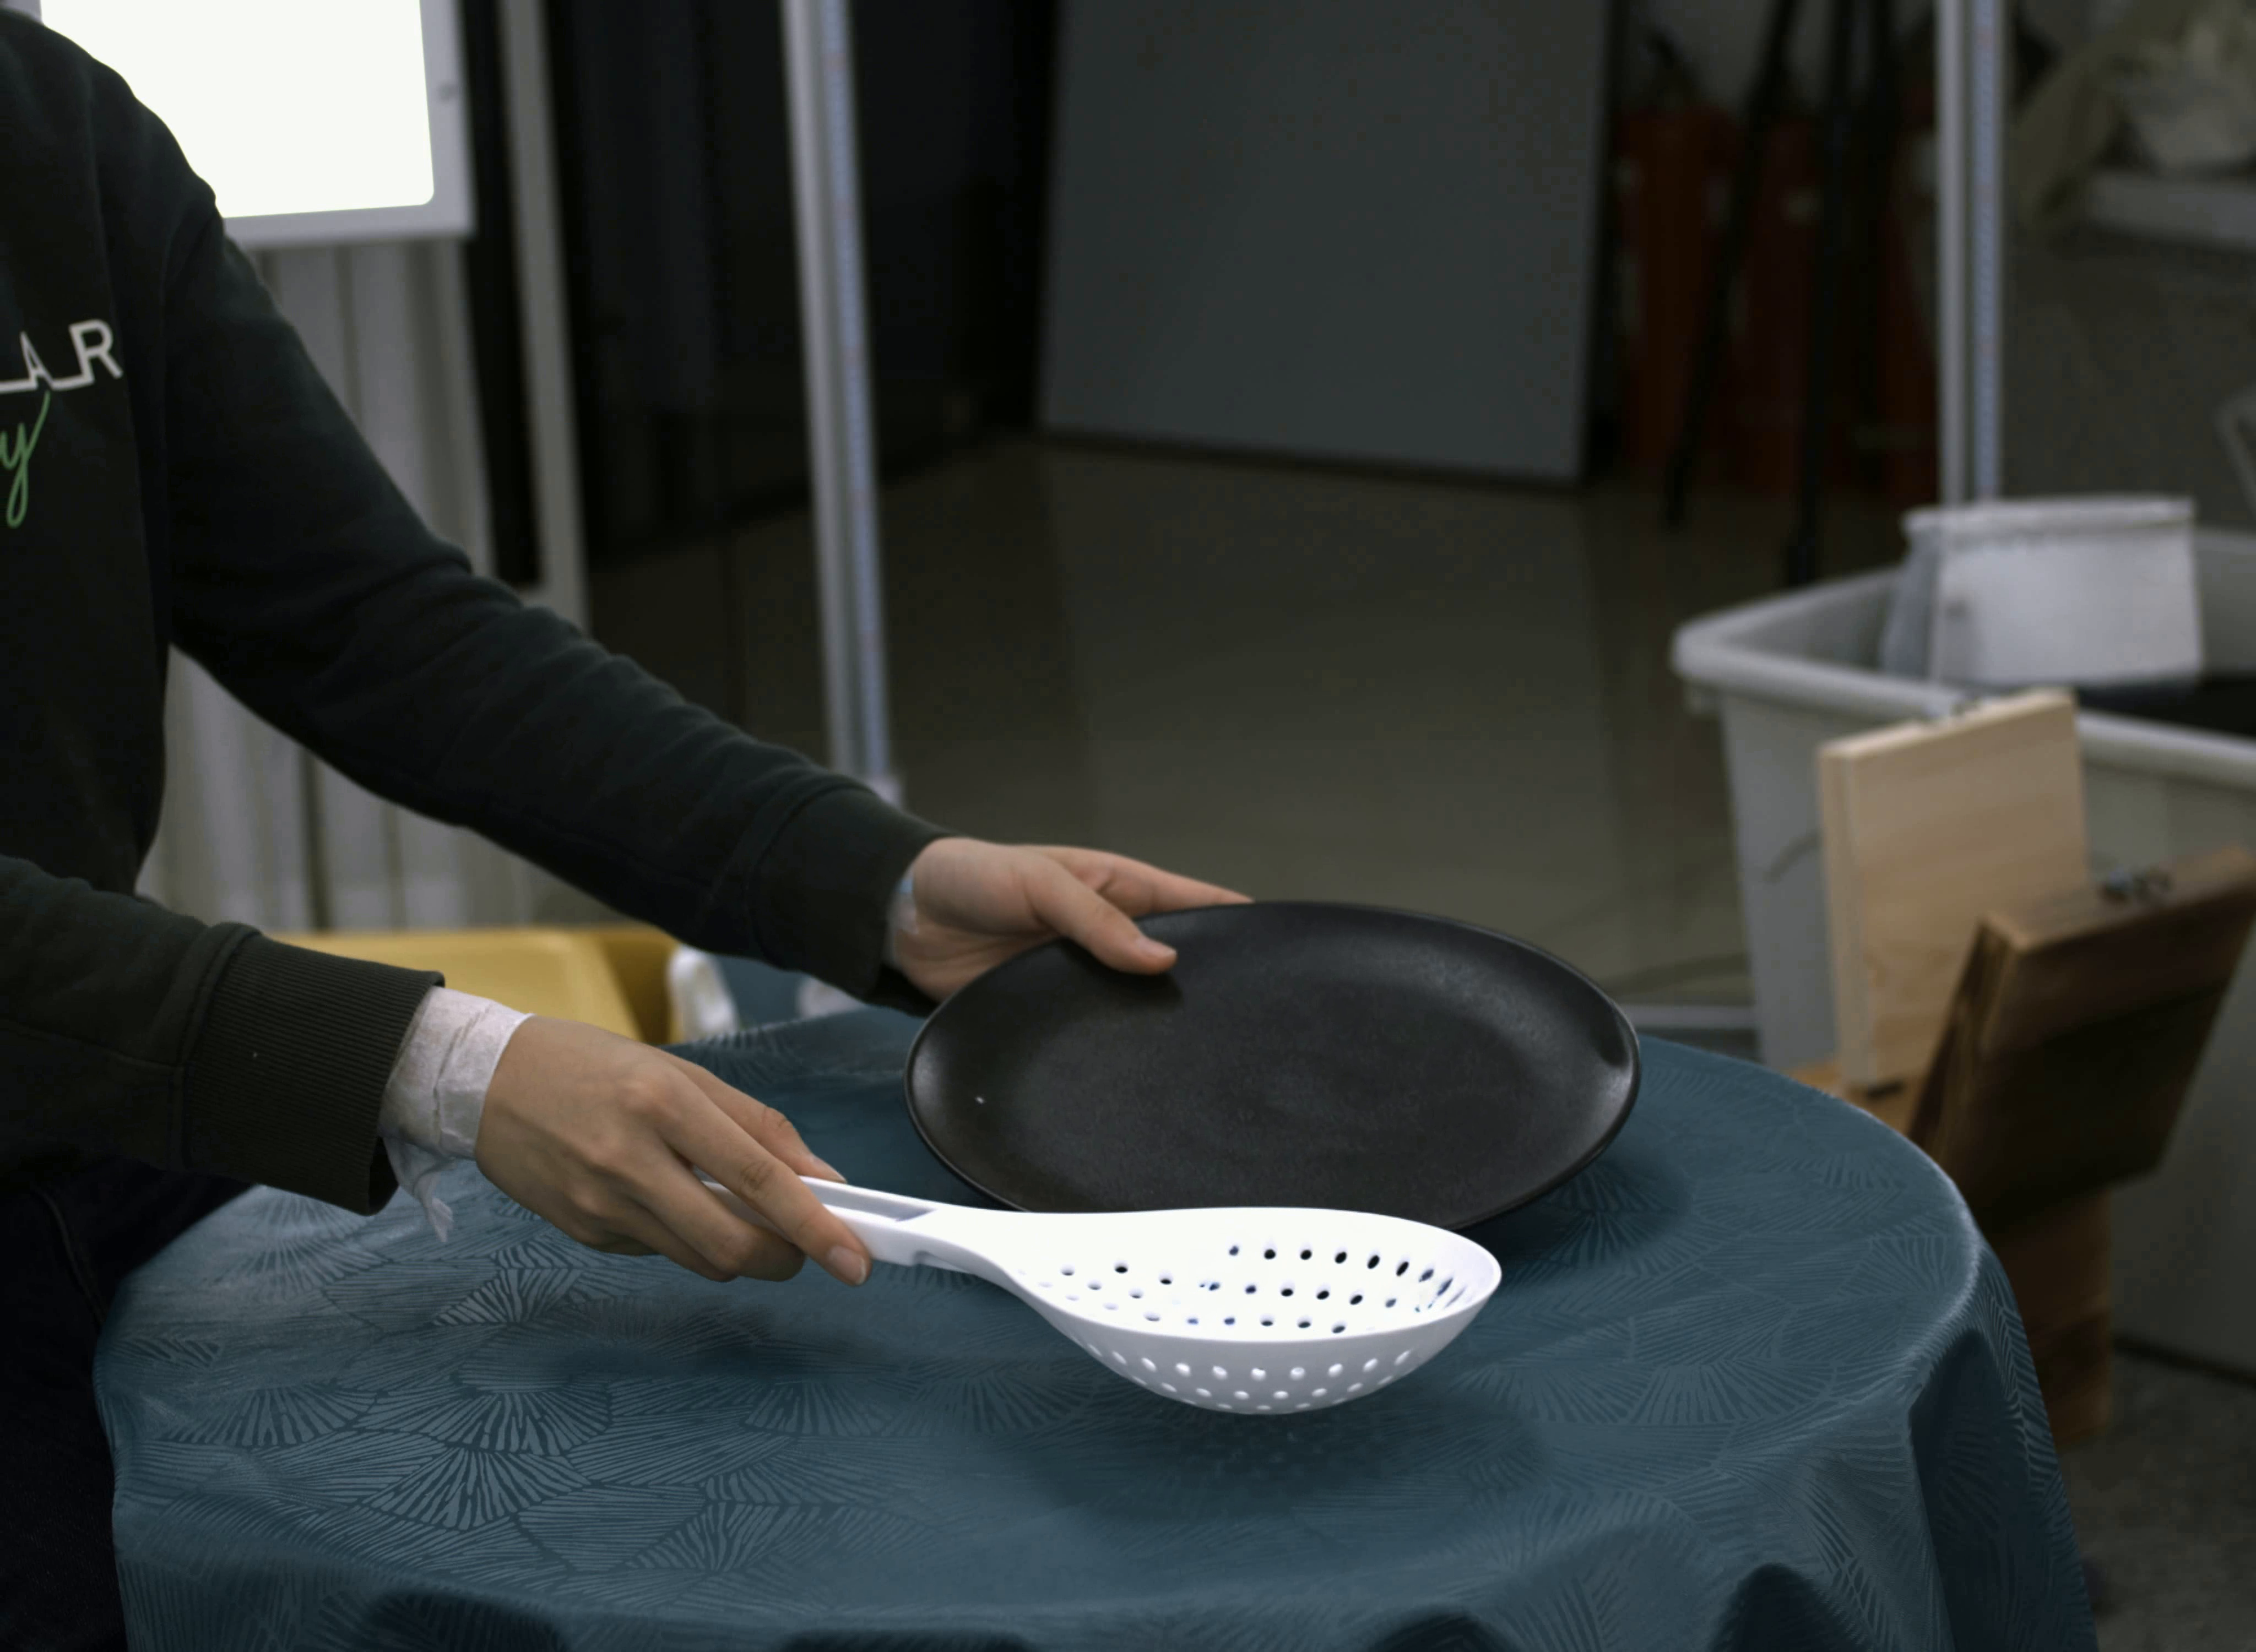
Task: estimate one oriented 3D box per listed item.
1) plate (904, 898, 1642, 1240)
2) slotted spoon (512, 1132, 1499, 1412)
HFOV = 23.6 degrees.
[{"bbox_3d":[0.048,0.087,1.757,0.241,0.023,0.245,-3,25,1],"label":"plate"},{"bbox_3d":[-0.048,0.123,1.608,0.352,0.046,0.133,12,16,35],"label":"slotted spoon"}]
